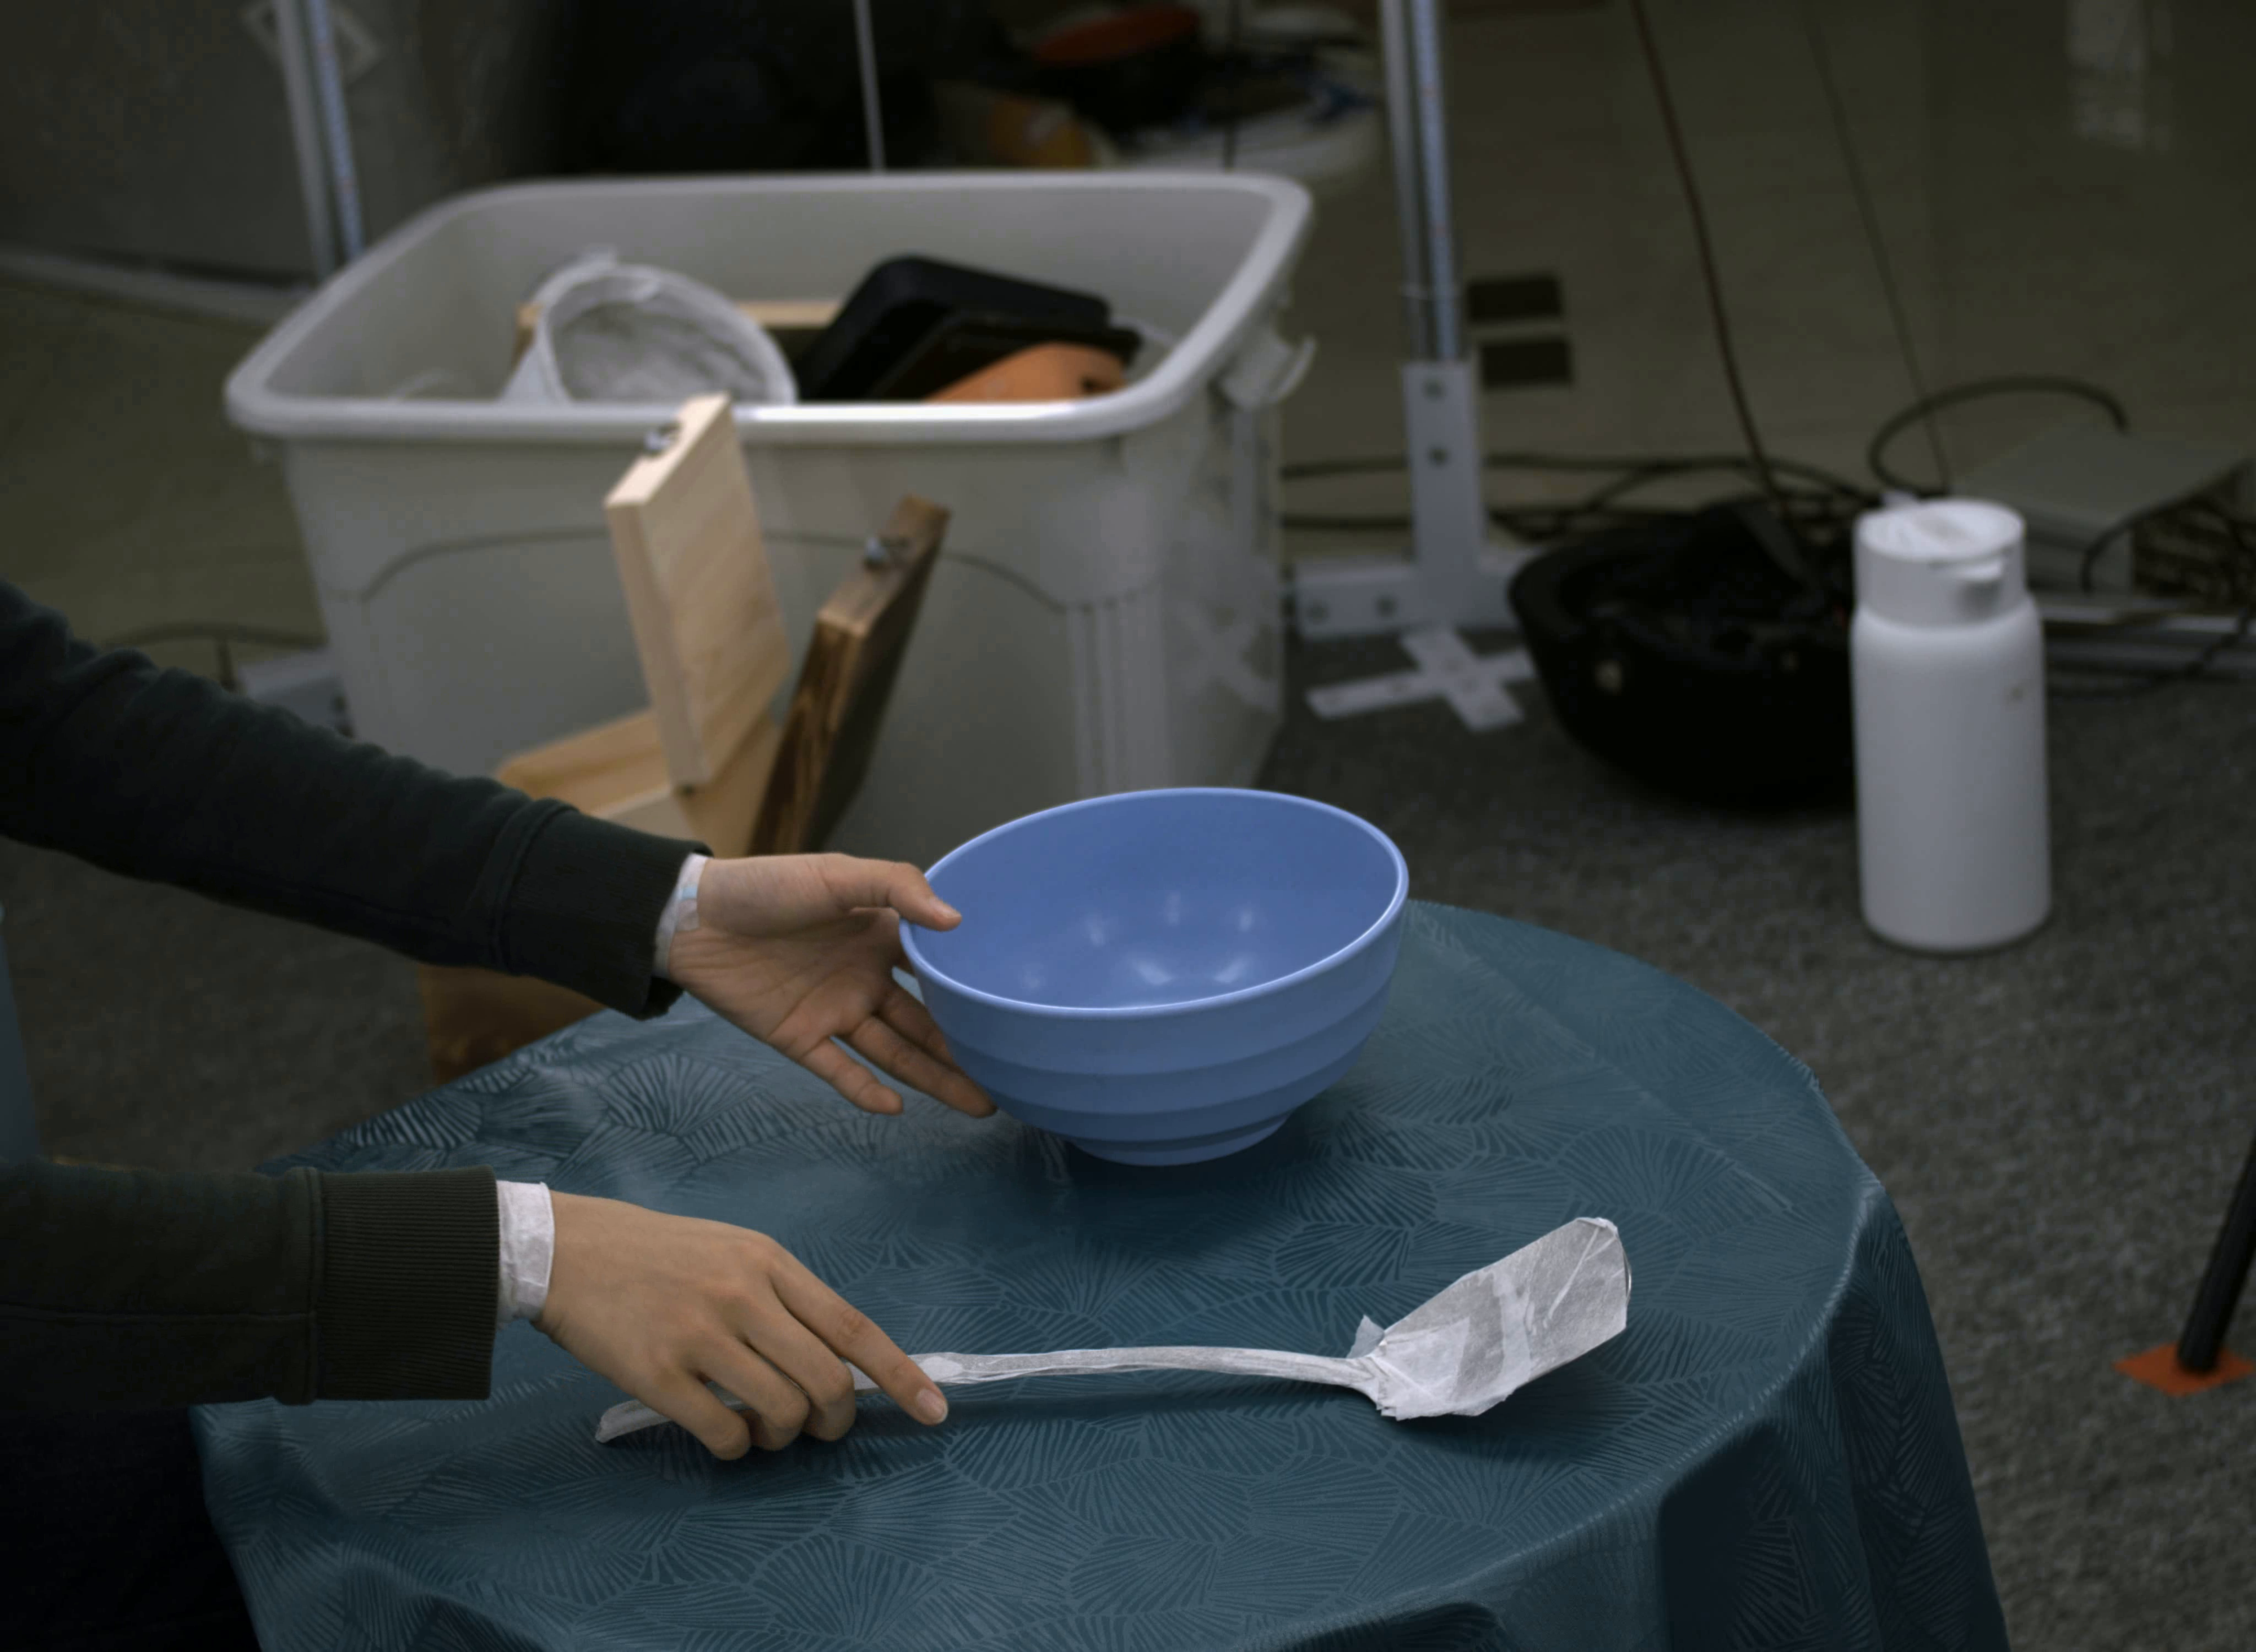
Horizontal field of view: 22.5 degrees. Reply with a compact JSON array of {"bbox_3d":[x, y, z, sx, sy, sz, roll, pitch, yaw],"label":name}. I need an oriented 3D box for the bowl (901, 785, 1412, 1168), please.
[{"bbox_3d":[0.014,0.069,2.186,0.196,0.097,0.193,-5,27,2],"label":"bowl"}]

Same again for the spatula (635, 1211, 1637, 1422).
[{"bbox_3d":[-0.001,0.184,2.010,0.364,0.045,0.097,-3,27,6],"label":"spatula"}]
